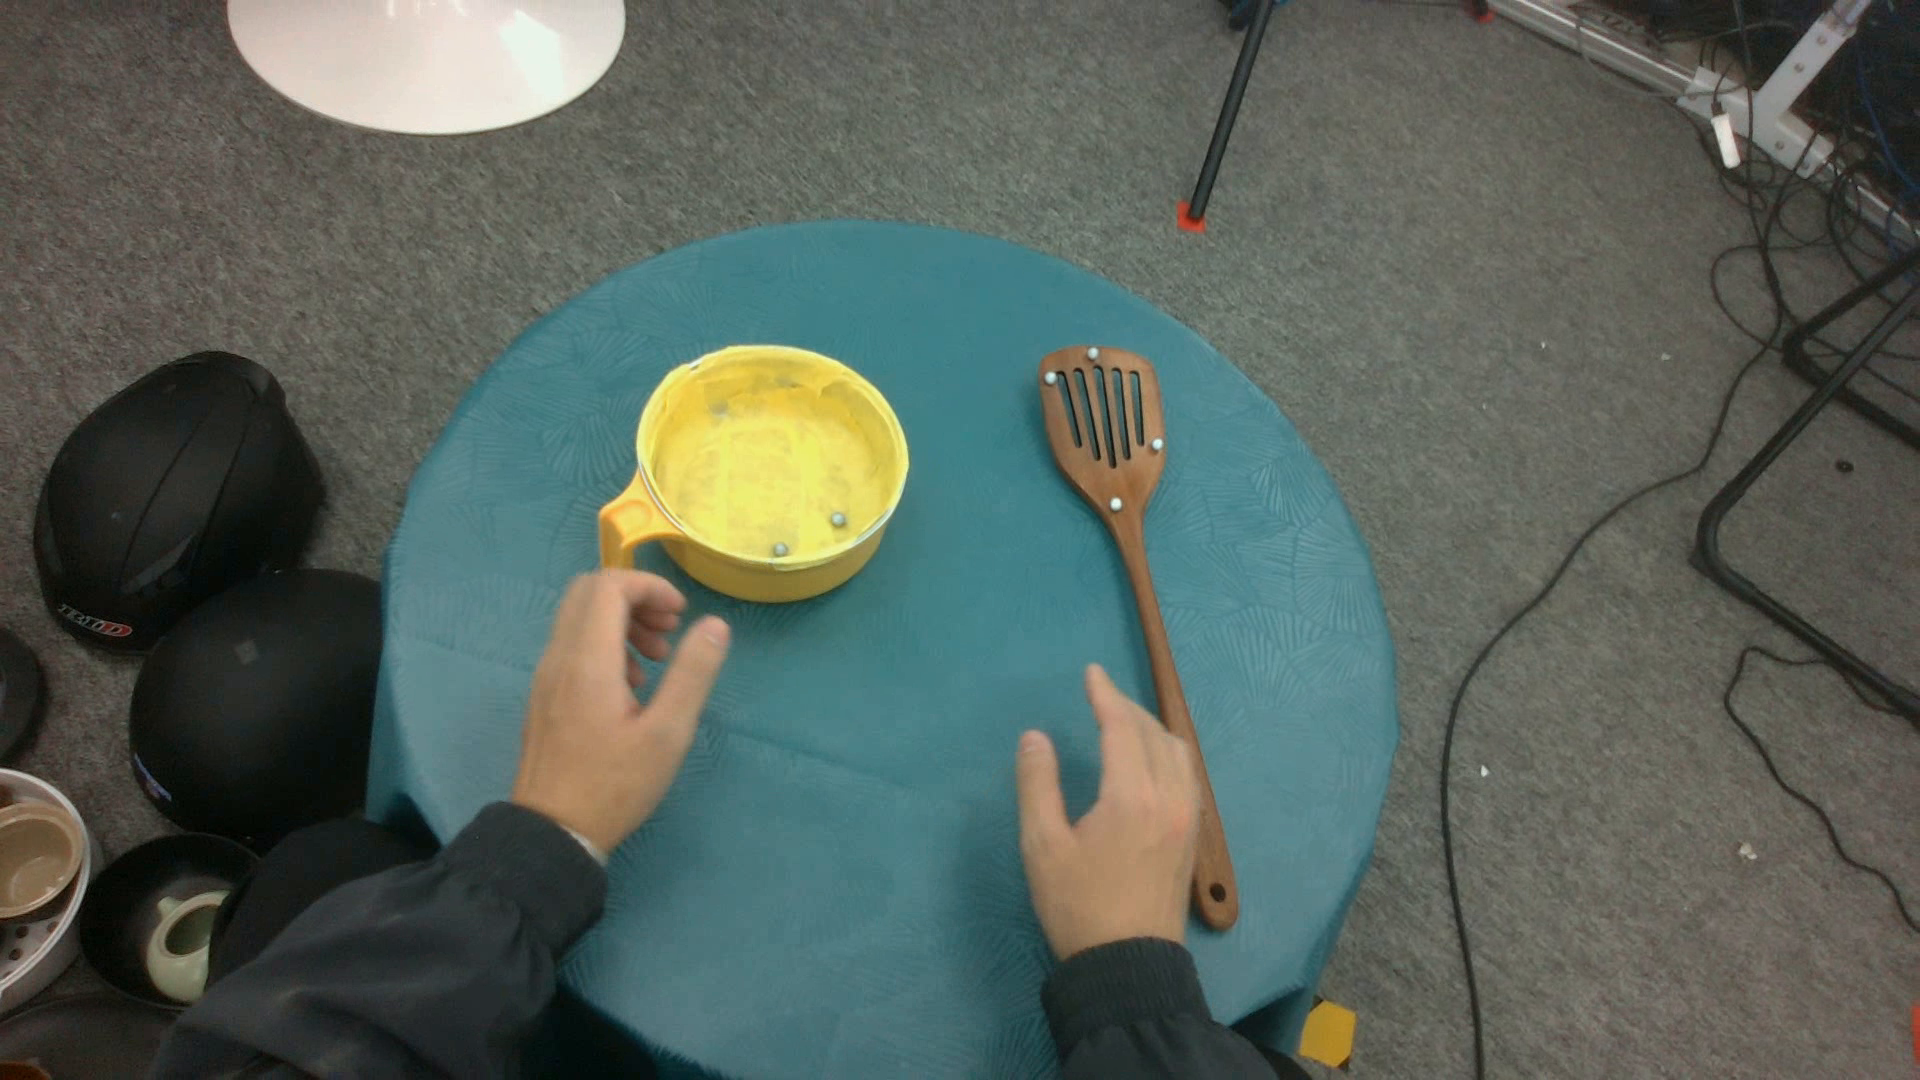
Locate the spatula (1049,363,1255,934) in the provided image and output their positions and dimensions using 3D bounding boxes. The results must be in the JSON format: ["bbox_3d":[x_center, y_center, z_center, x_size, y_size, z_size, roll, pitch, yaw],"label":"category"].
[{"bbox_3d":[0.124,0.049,0.842,0.085,0.024,0.388,-3,58,-11],"label":"spatula"}]

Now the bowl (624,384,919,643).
[{"bbox_3d":[-0.114,-0.010,0.814,0.180,0.074,0.153,-36,68,-28],"label":"bowl"}]
